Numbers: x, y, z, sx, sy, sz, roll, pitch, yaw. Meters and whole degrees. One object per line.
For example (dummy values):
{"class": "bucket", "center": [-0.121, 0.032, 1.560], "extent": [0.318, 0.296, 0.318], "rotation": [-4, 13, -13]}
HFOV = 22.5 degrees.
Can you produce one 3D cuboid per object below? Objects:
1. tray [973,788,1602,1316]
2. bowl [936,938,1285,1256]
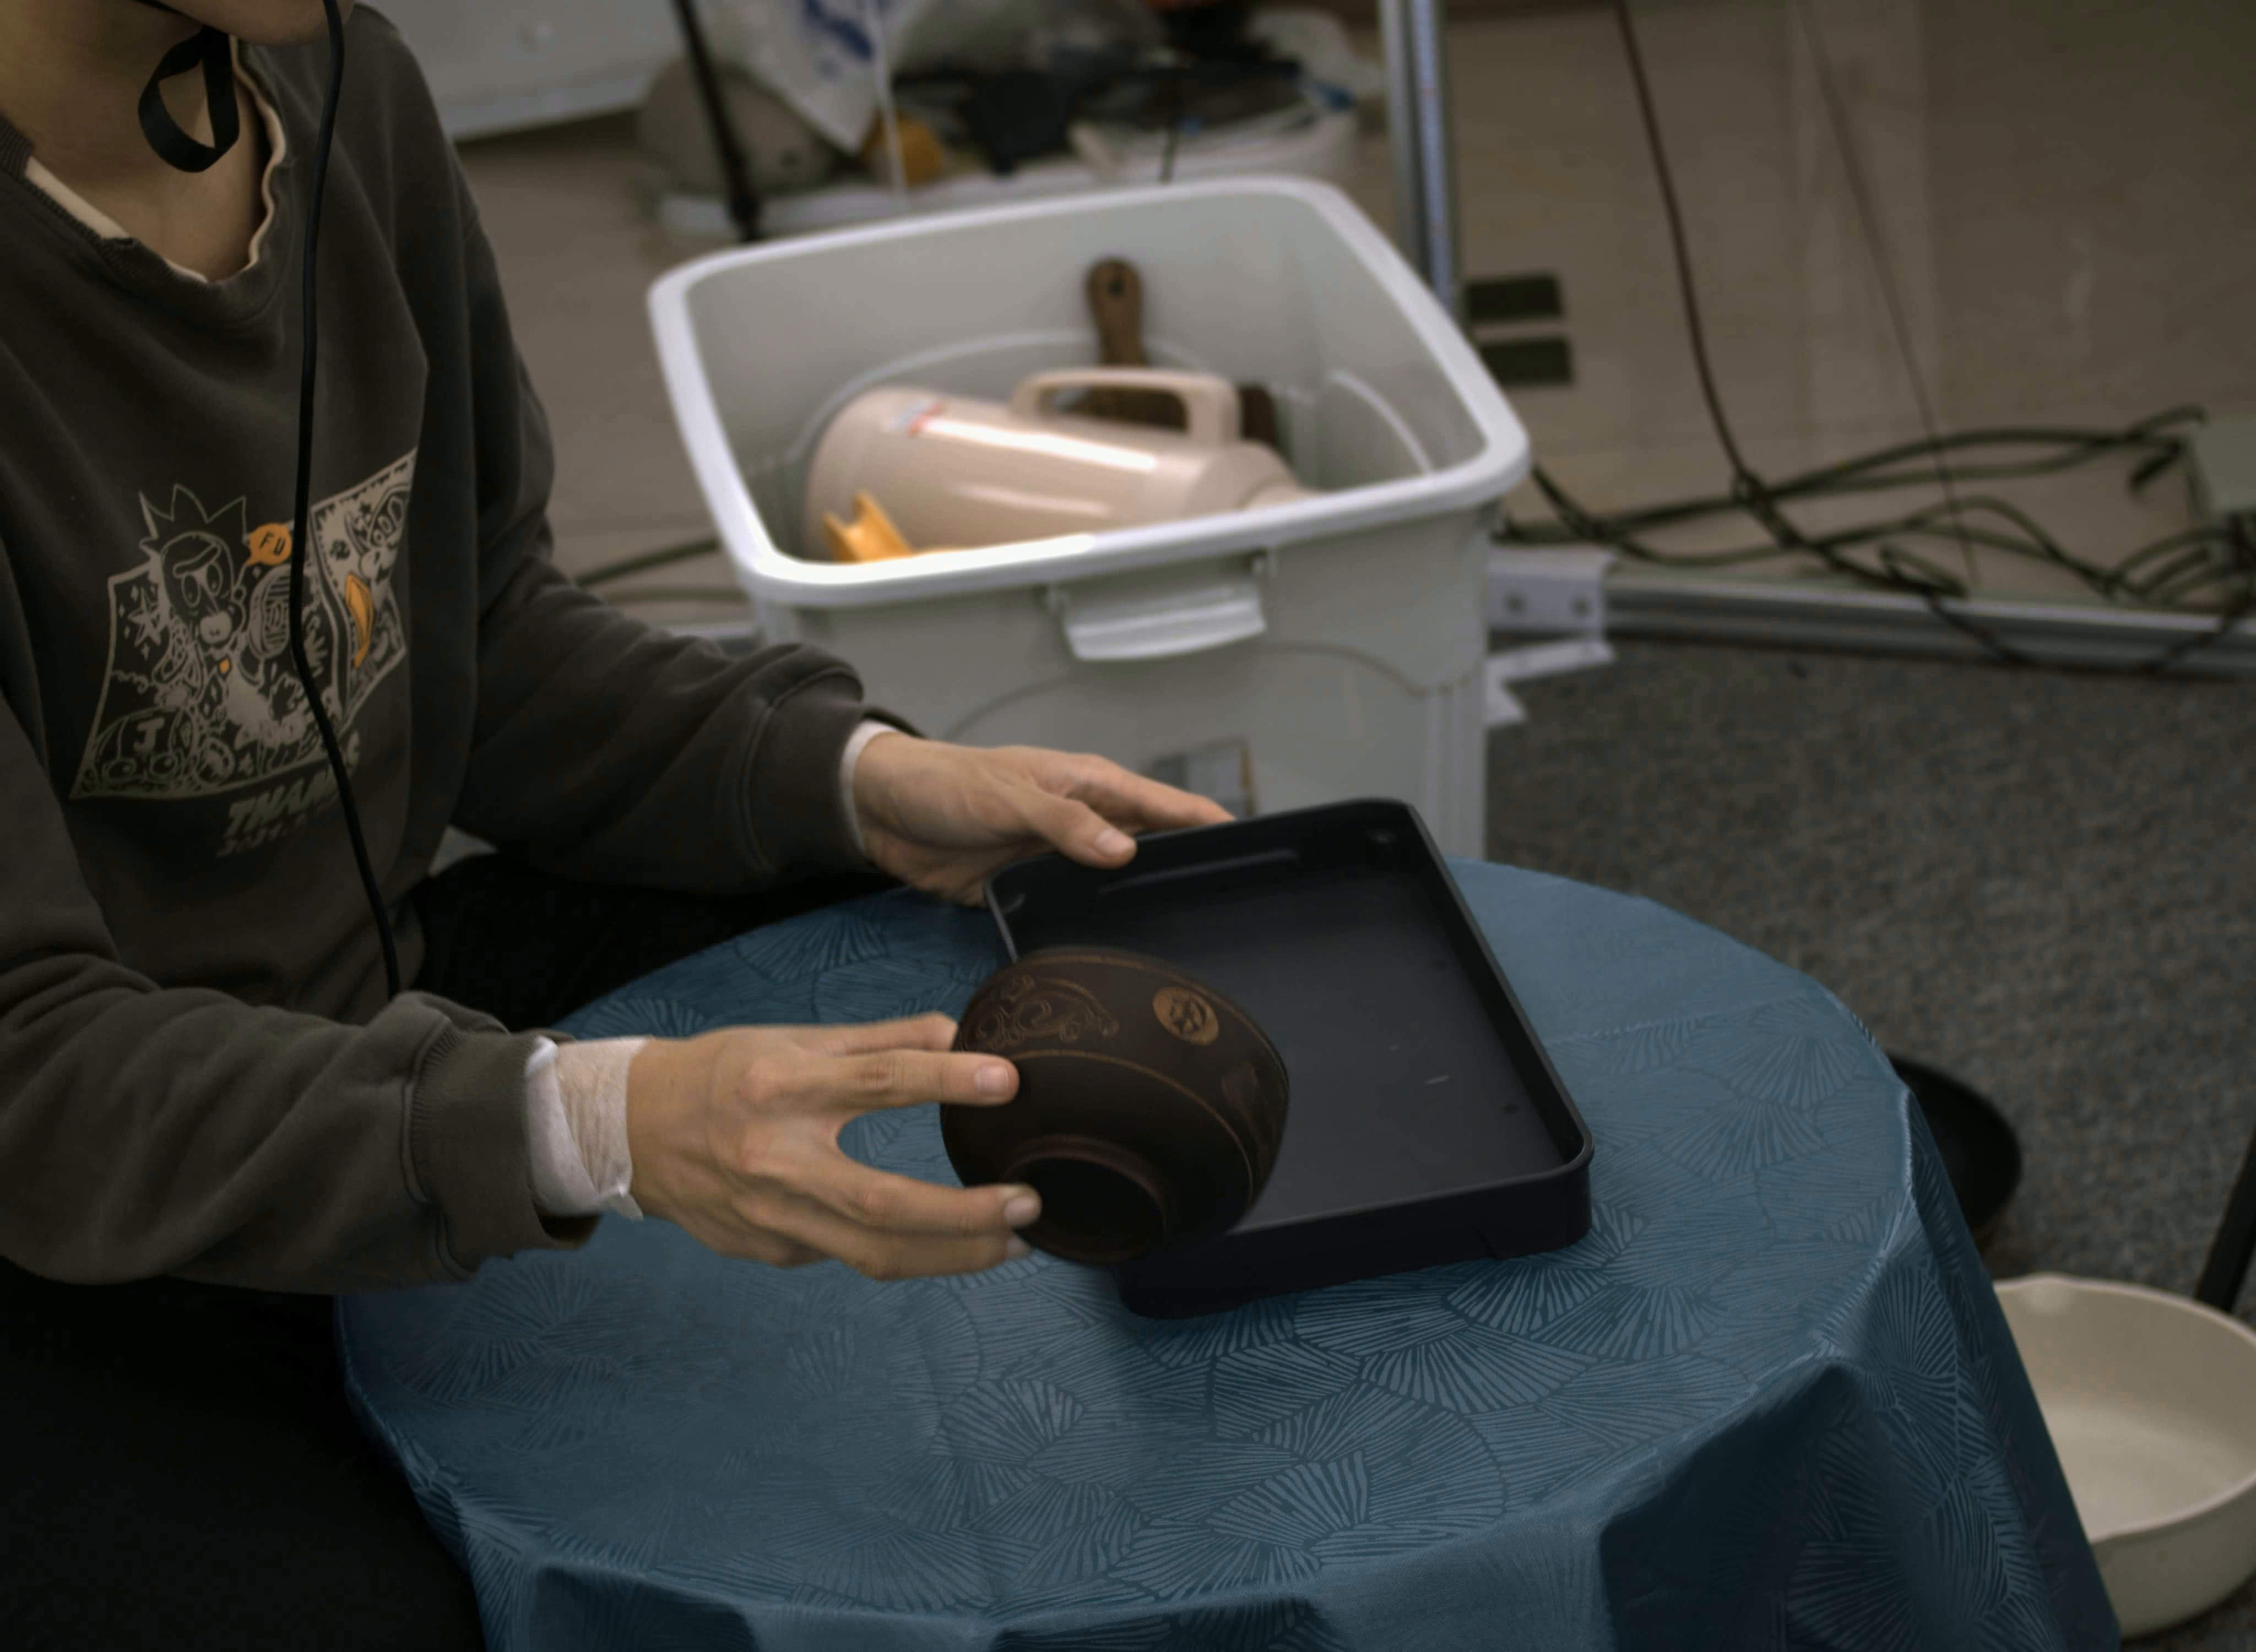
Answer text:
{"class": "tray", "center": [0.057, 0.082, 2.196], "extent": [0.184, 0.037, 0.313], "rotation": [-11, 29, -8]}
{"class": "bowl", "center": [-0.009, 0.101, 1.913], "extent": [0.118, 0.120, 0.068], "rotation": [1, 47, 15]}
